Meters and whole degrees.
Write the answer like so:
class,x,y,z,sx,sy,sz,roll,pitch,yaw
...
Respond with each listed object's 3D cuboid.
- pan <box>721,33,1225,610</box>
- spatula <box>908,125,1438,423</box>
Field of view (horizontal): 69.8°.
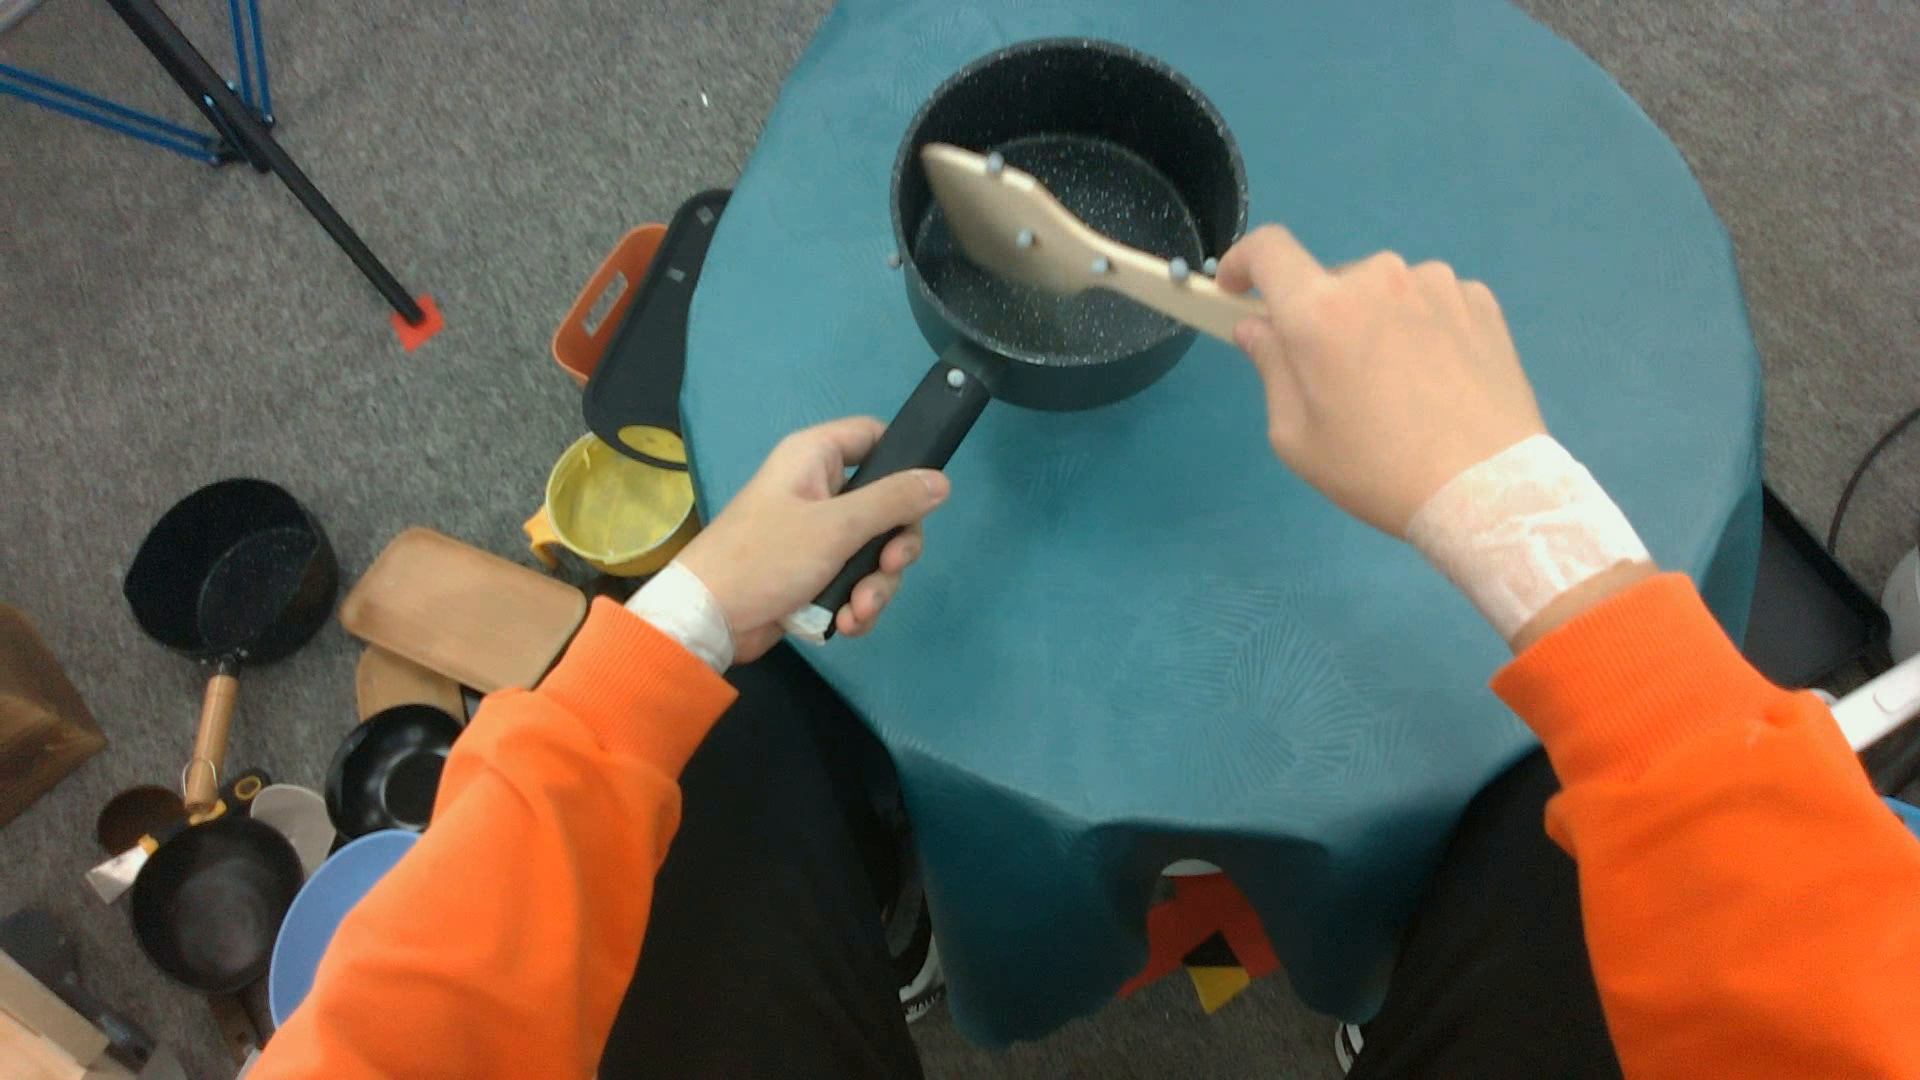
class,x,y,z,sx,sy,sz,roll,pitch,yaw
pan,-0.001,-0.096,0.670,0.172,0.086,0.329,31,74,10
spatula,0.081,-0.117,0.601,0.011,0.072,0.293,-43,51,-17
